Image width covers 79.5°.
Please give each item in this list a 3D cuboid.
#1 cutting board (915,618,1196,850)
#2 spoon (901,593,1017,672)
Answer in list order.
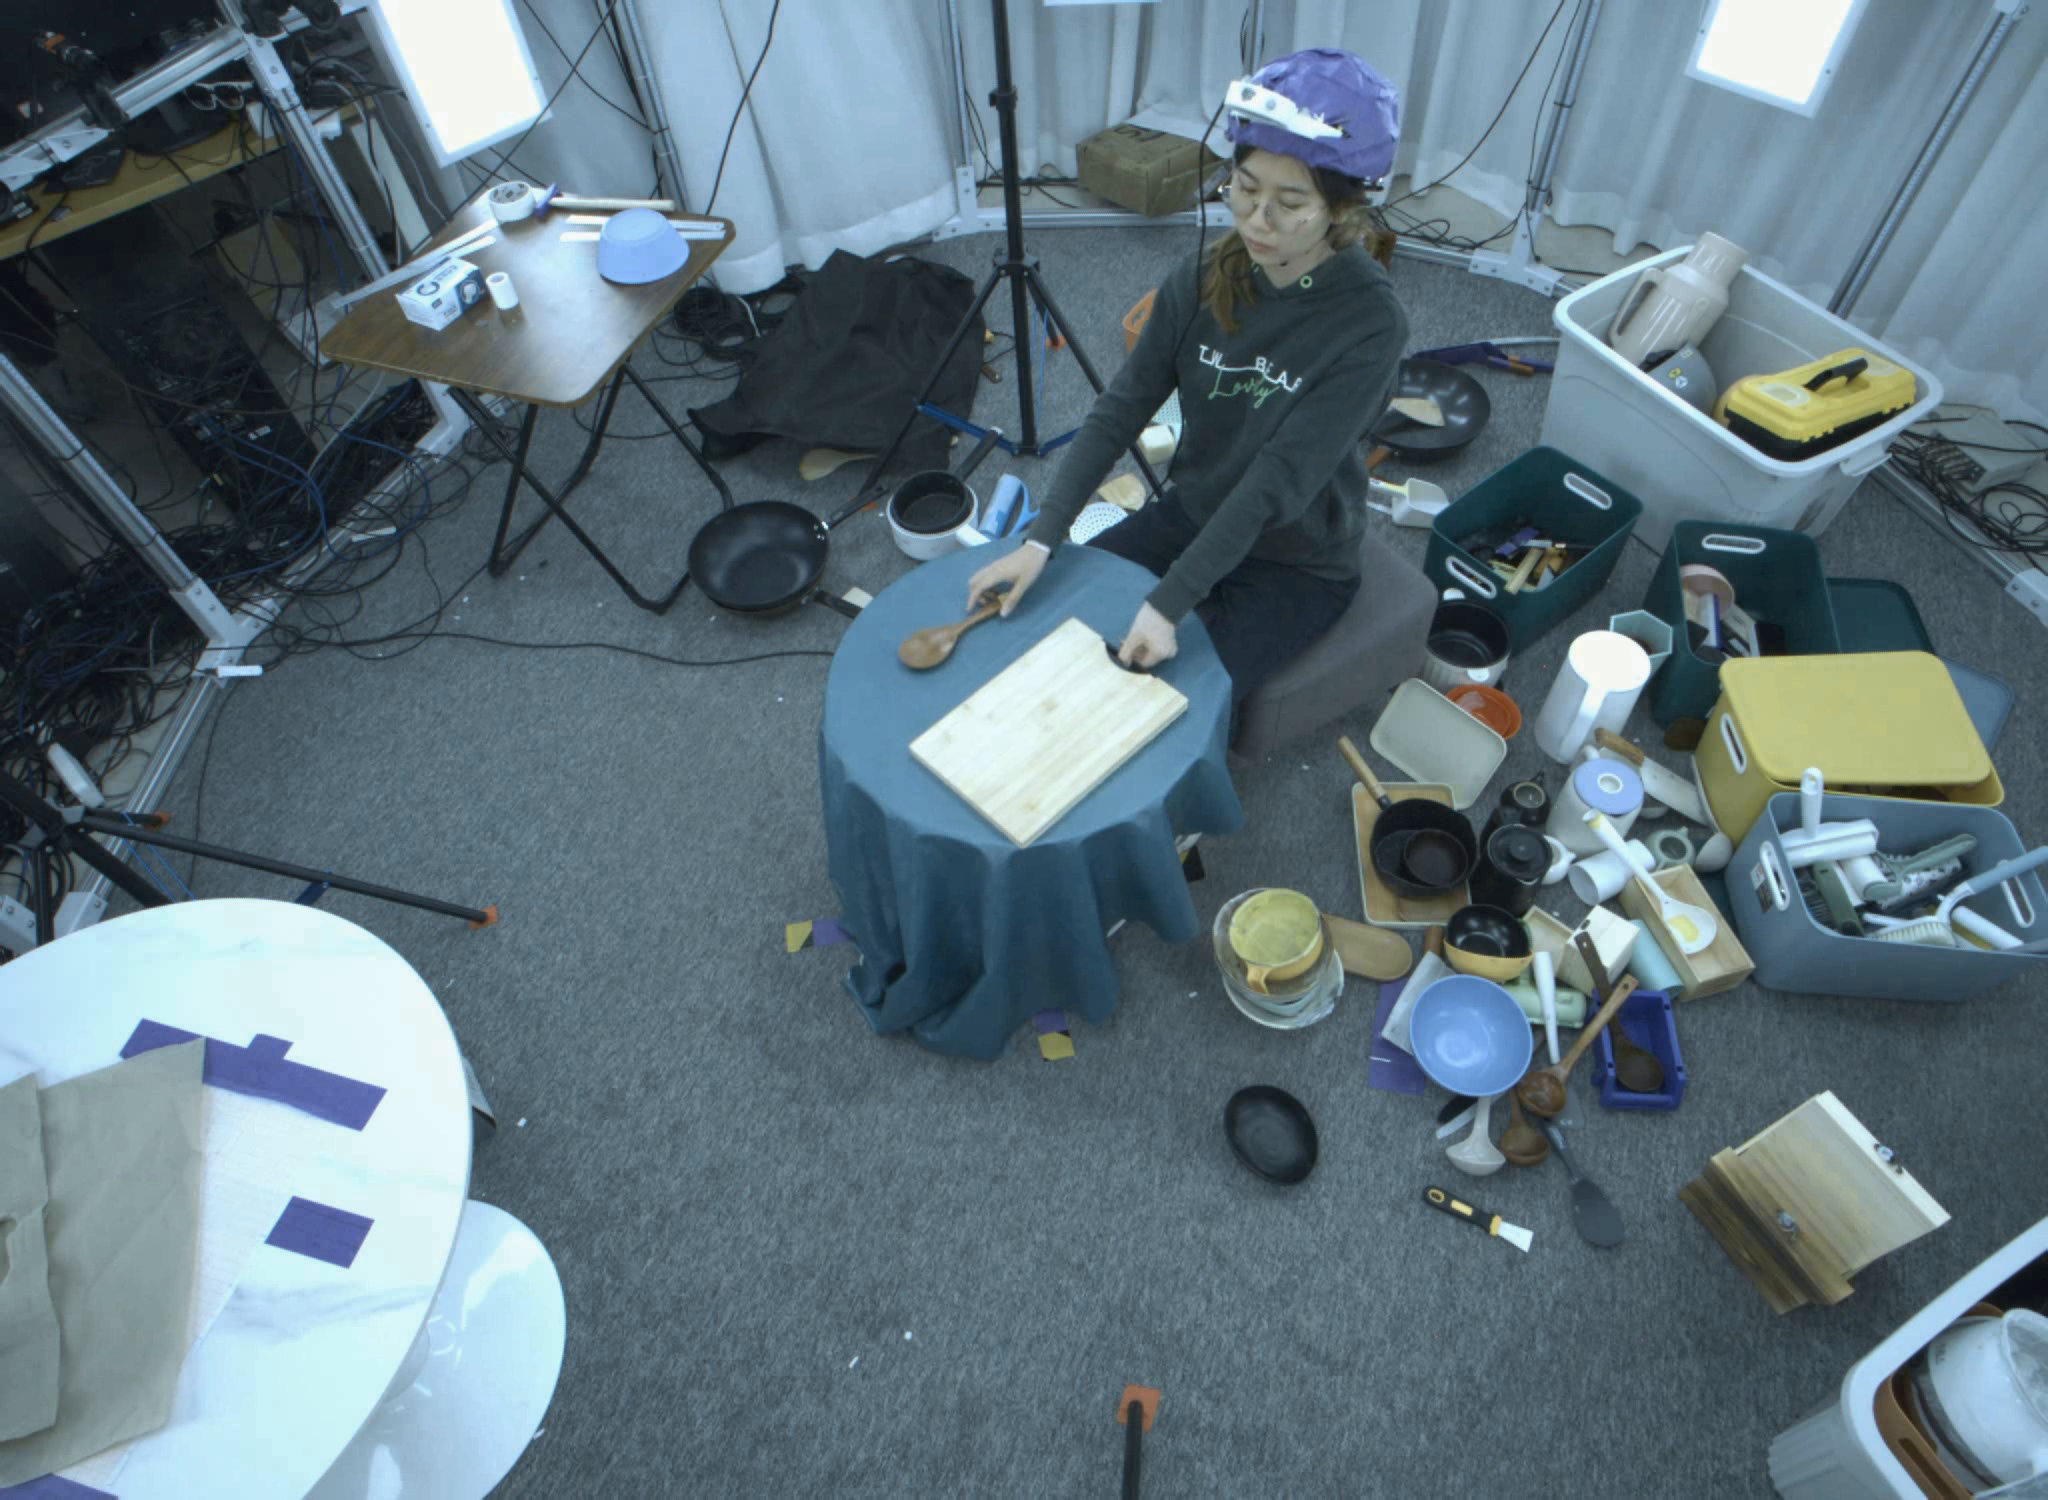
[{"bbox_3d":[0.045,-0.033,1.807,0.246,0.024,0.351,39,65,24],"label":"cutting board"},{"bbox_3d":[-0.098,-0.185,1.919,0.217,0.017,0.074,-35,60,-20],"label":"spoon"}]
